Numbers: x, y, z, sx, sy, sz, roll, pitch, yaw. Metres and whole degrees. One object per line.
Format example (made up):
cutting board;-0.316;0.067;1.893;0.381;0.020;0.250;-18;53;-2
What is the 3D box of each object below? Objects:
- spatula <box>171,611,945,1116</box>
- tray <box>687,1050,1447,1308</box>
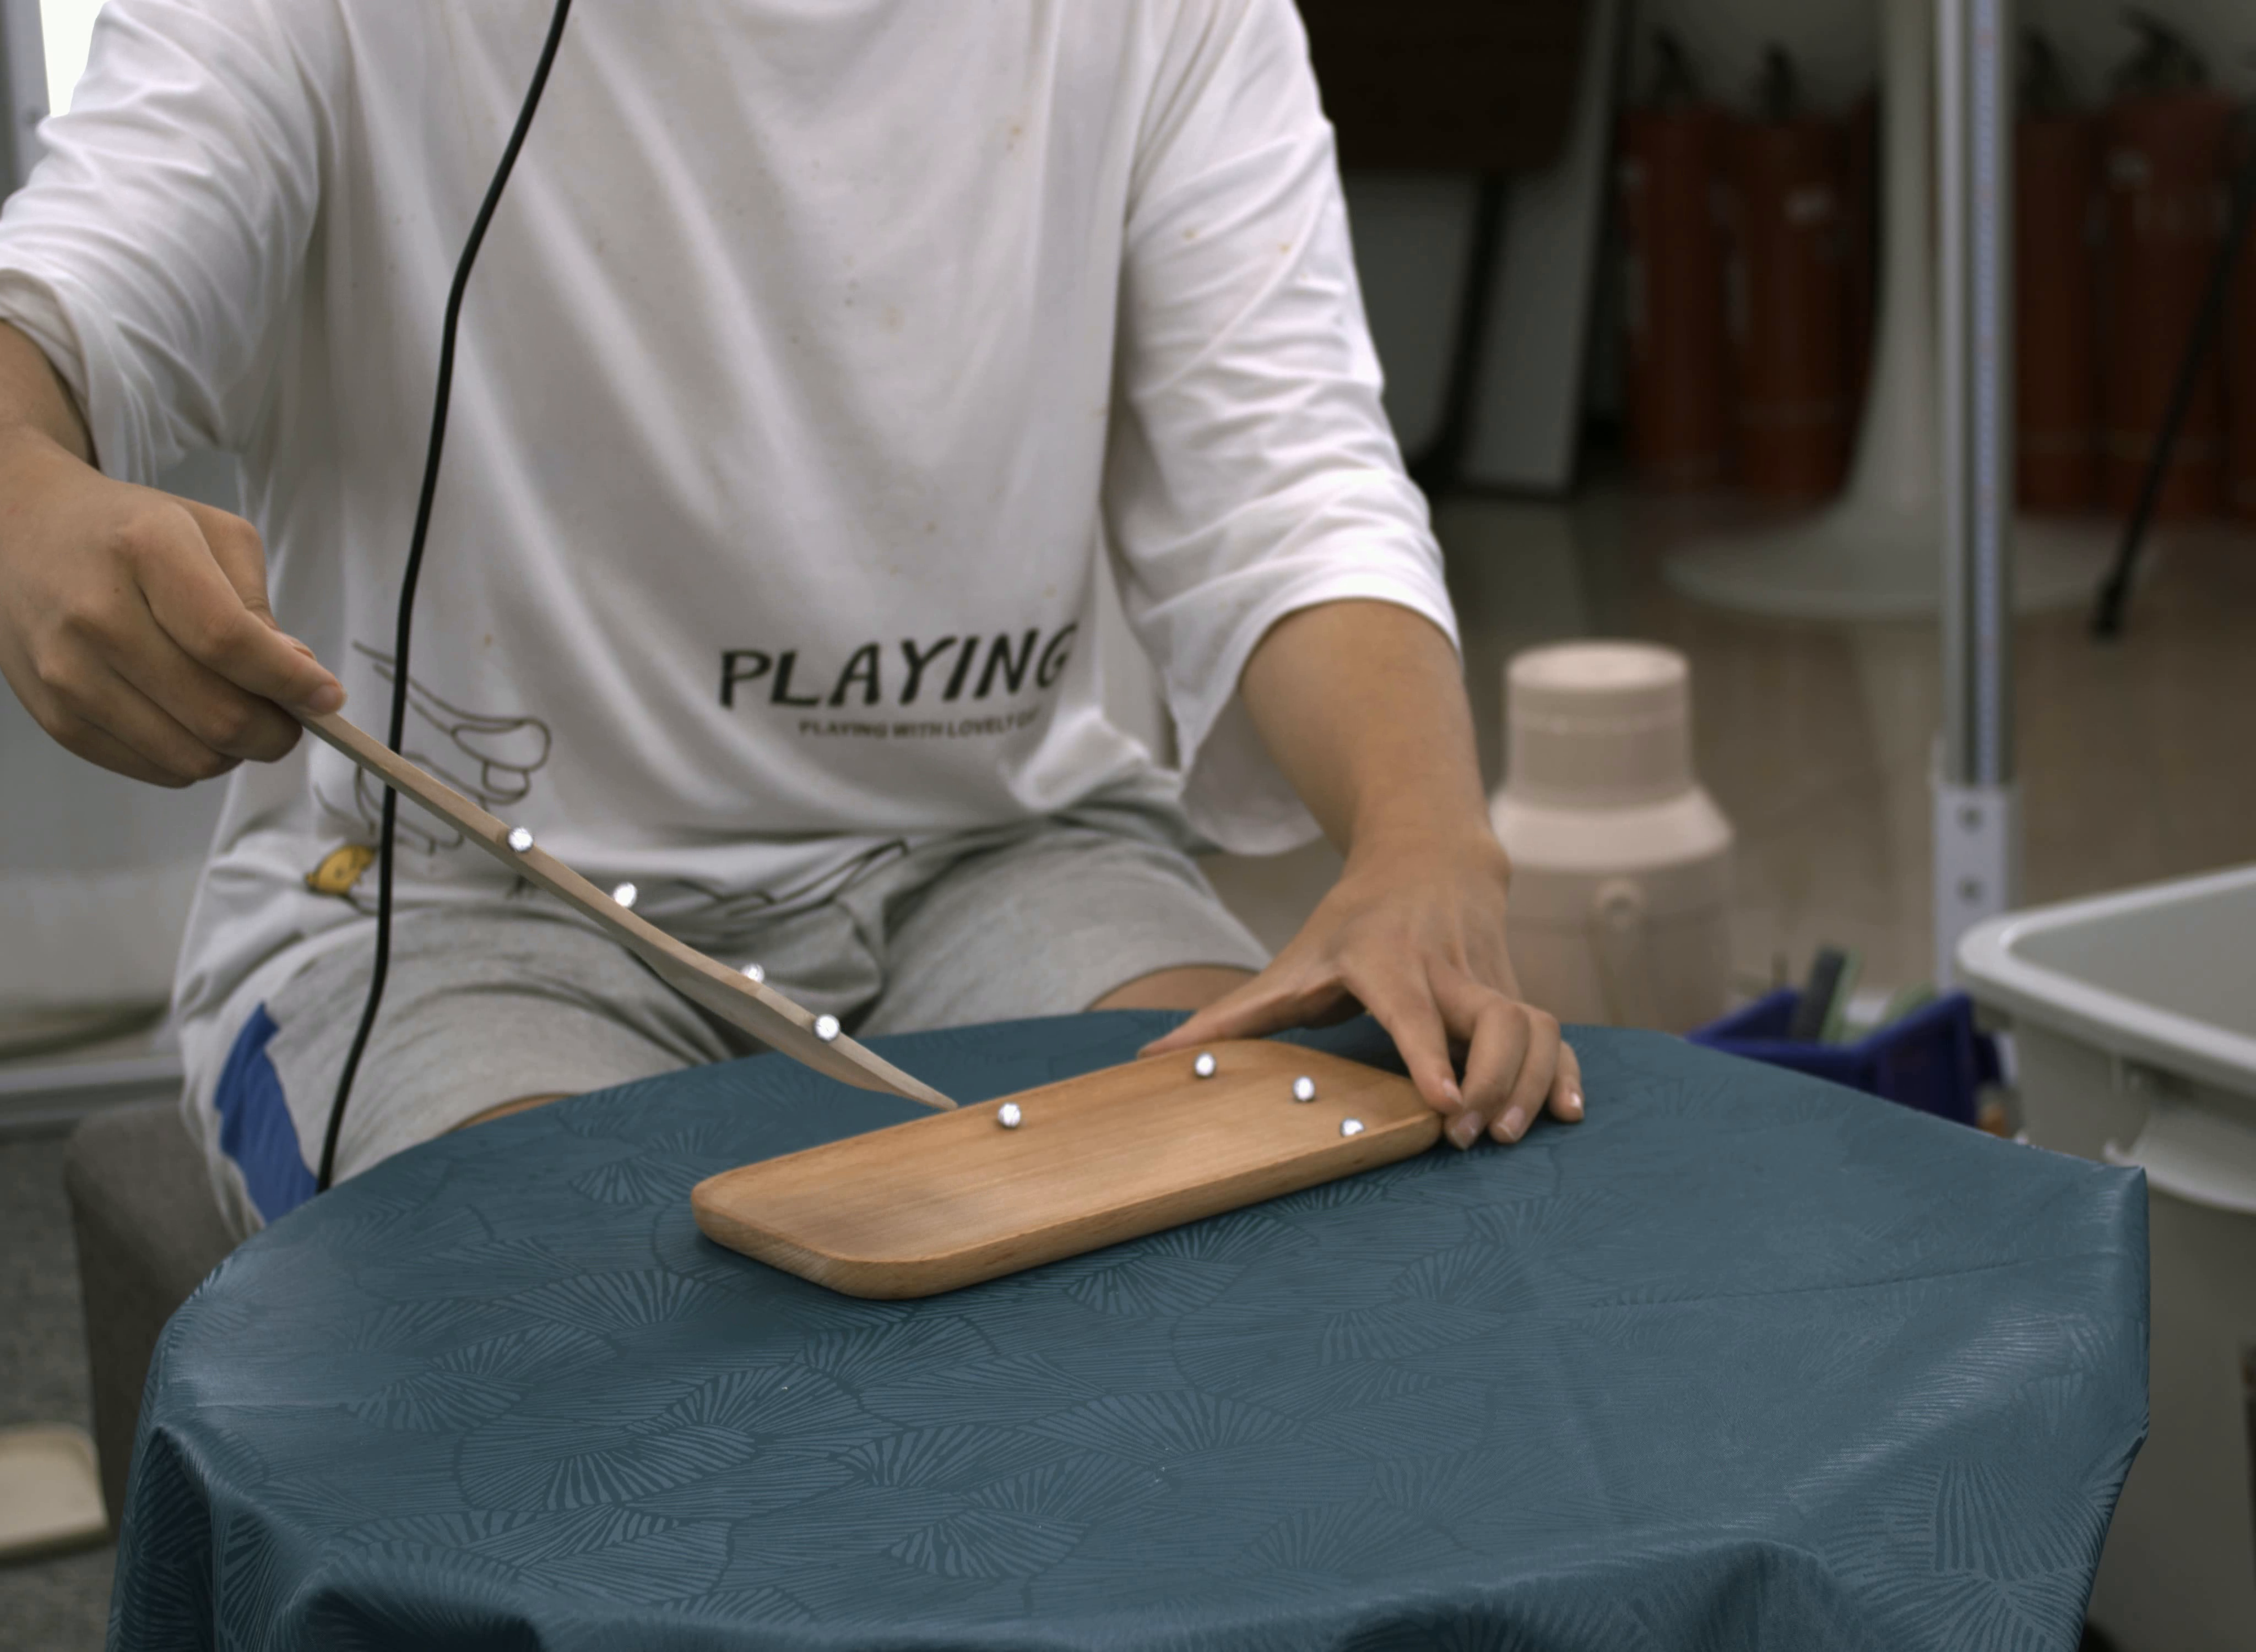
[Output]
spatula;-0.176;0.015;1.666;0.289;0.011;0.073;36;-14;-27
tray;-0.018;0.115;1.781;0.245;0.023;0.132;-14;14;-33
